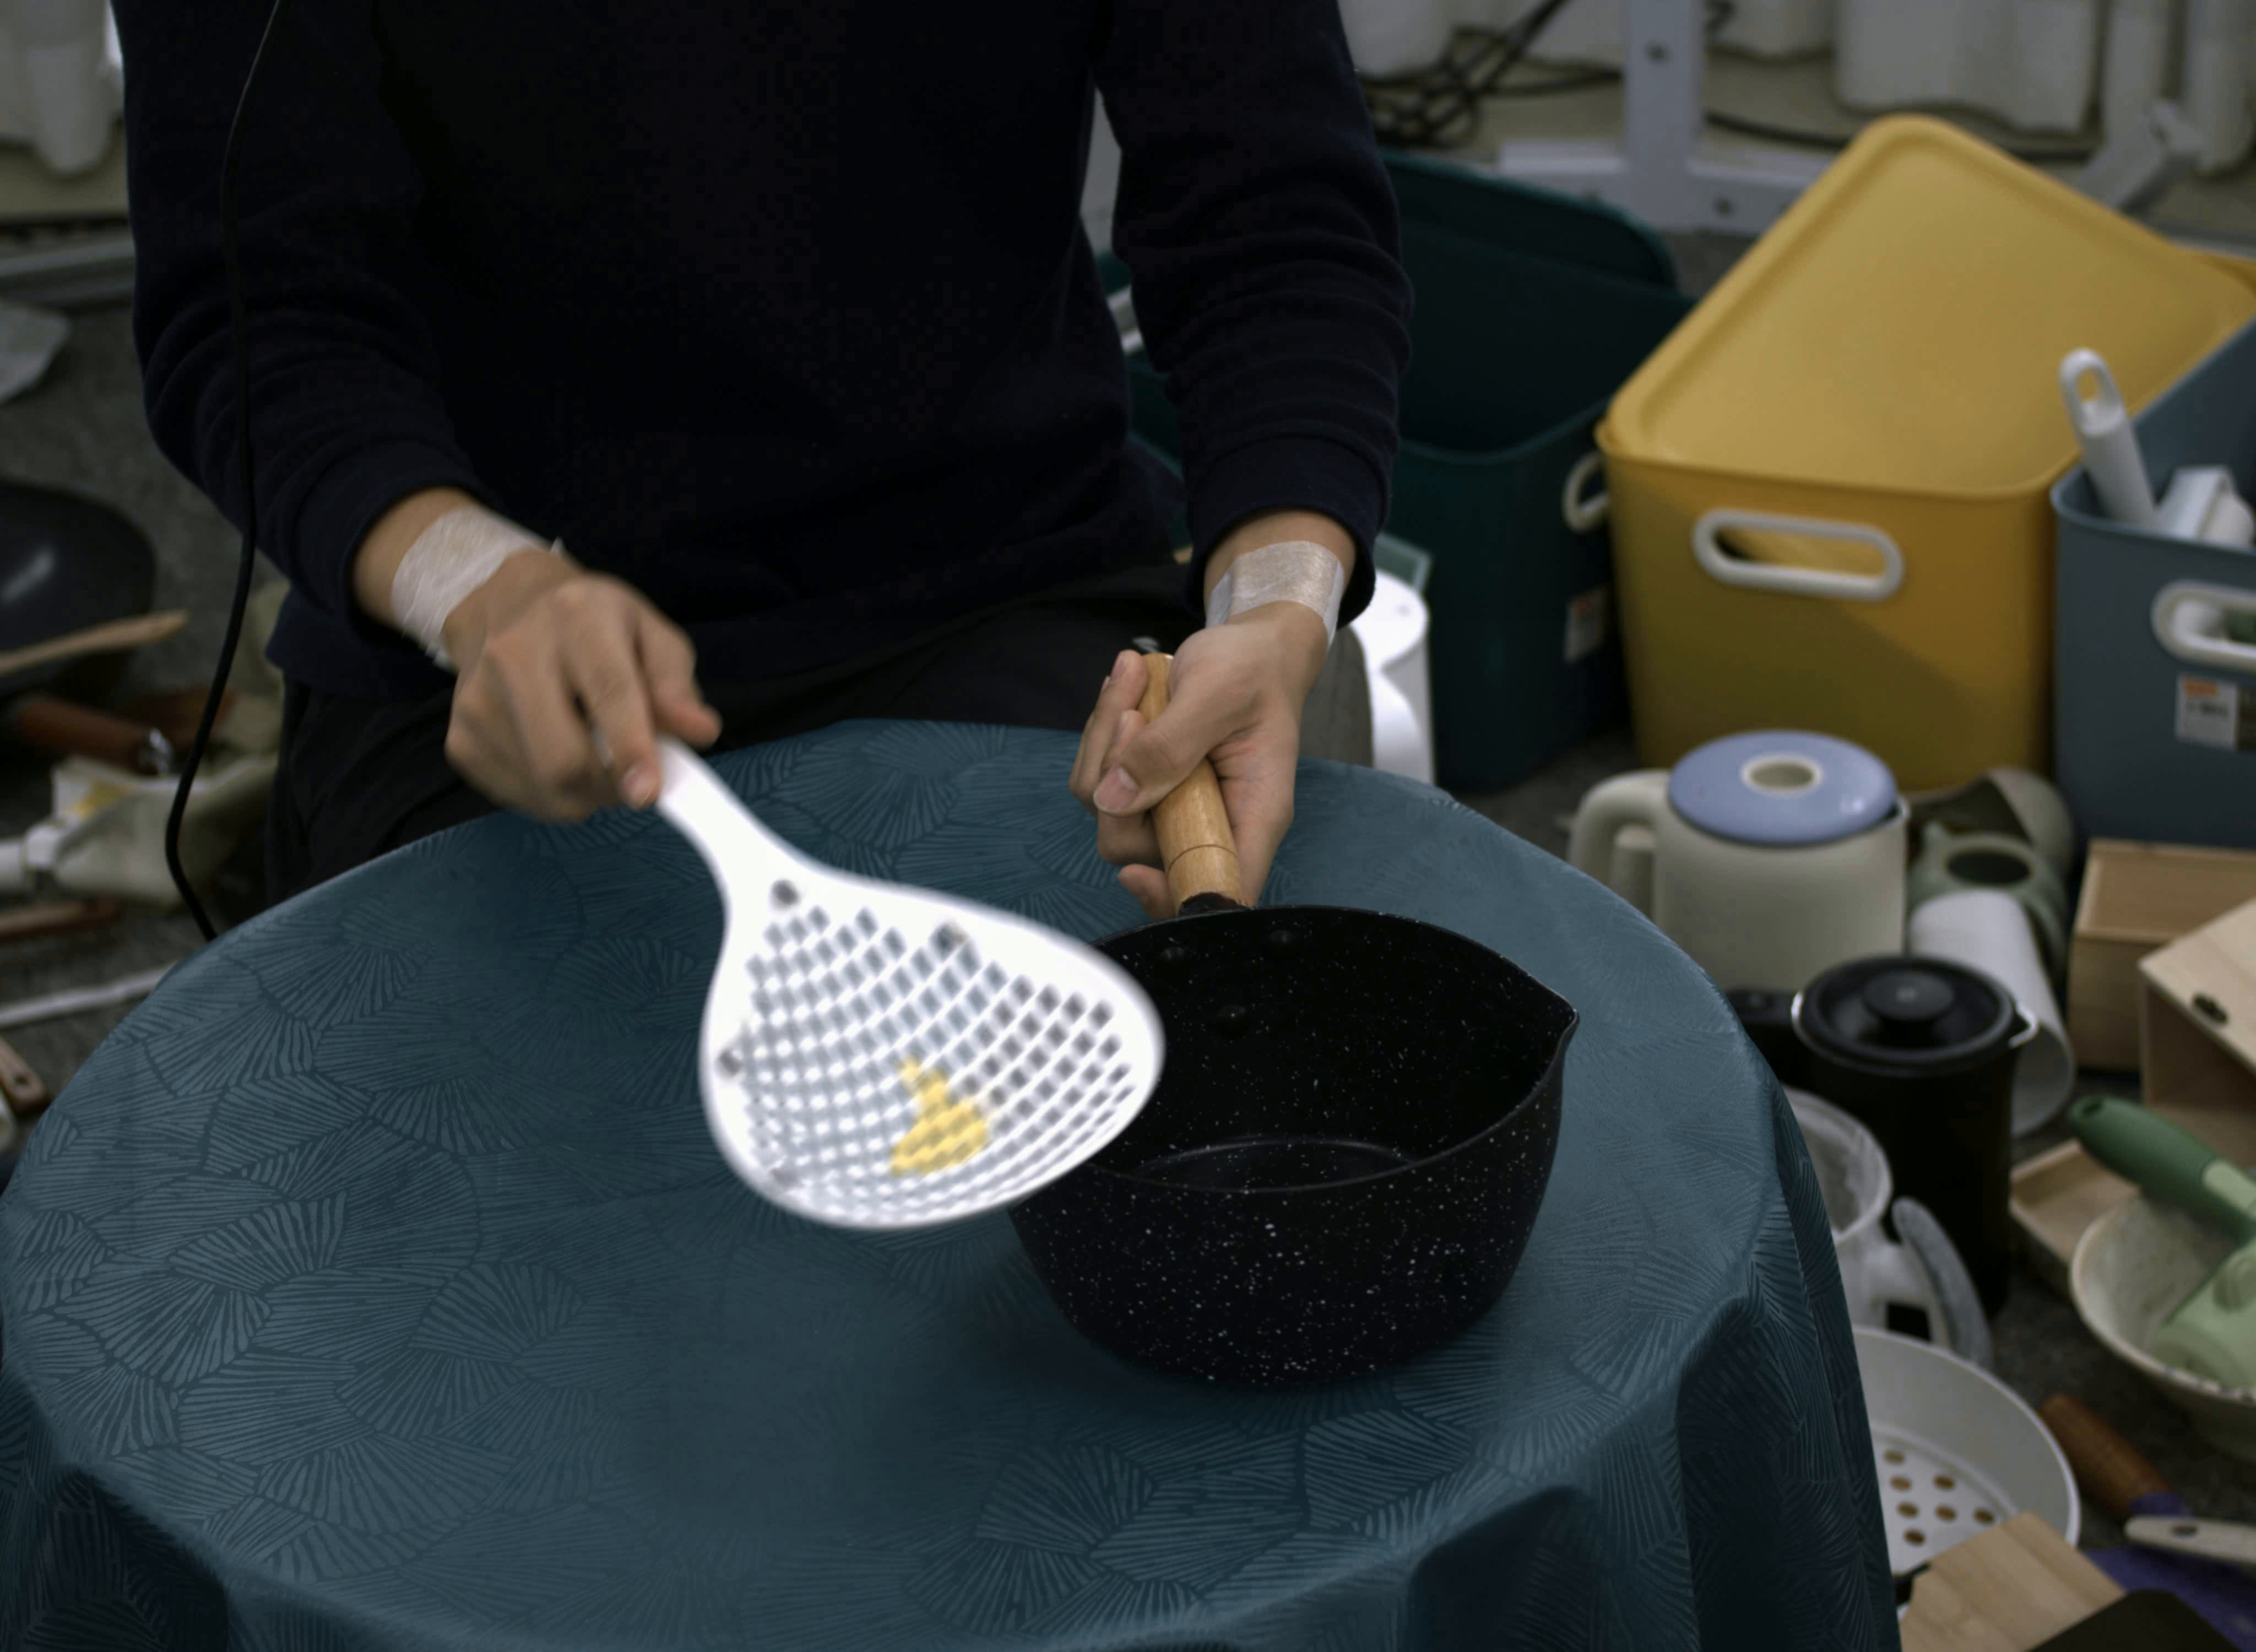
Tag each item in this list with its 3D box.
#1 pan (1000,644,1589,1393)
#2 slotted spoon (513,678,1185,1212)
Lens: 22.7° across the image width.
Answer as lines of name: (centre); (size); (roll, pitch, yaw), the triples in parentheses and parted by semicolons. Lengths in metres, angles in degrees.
pan: (0.034, 0.060, 1.863); (0.207, 0.107, 0.347); (-8, 28, -7)
slotted spoon: (-0.108, 0.023, 1.788); (0.138, 0.049, 0.350); (-27, 45, -19)
